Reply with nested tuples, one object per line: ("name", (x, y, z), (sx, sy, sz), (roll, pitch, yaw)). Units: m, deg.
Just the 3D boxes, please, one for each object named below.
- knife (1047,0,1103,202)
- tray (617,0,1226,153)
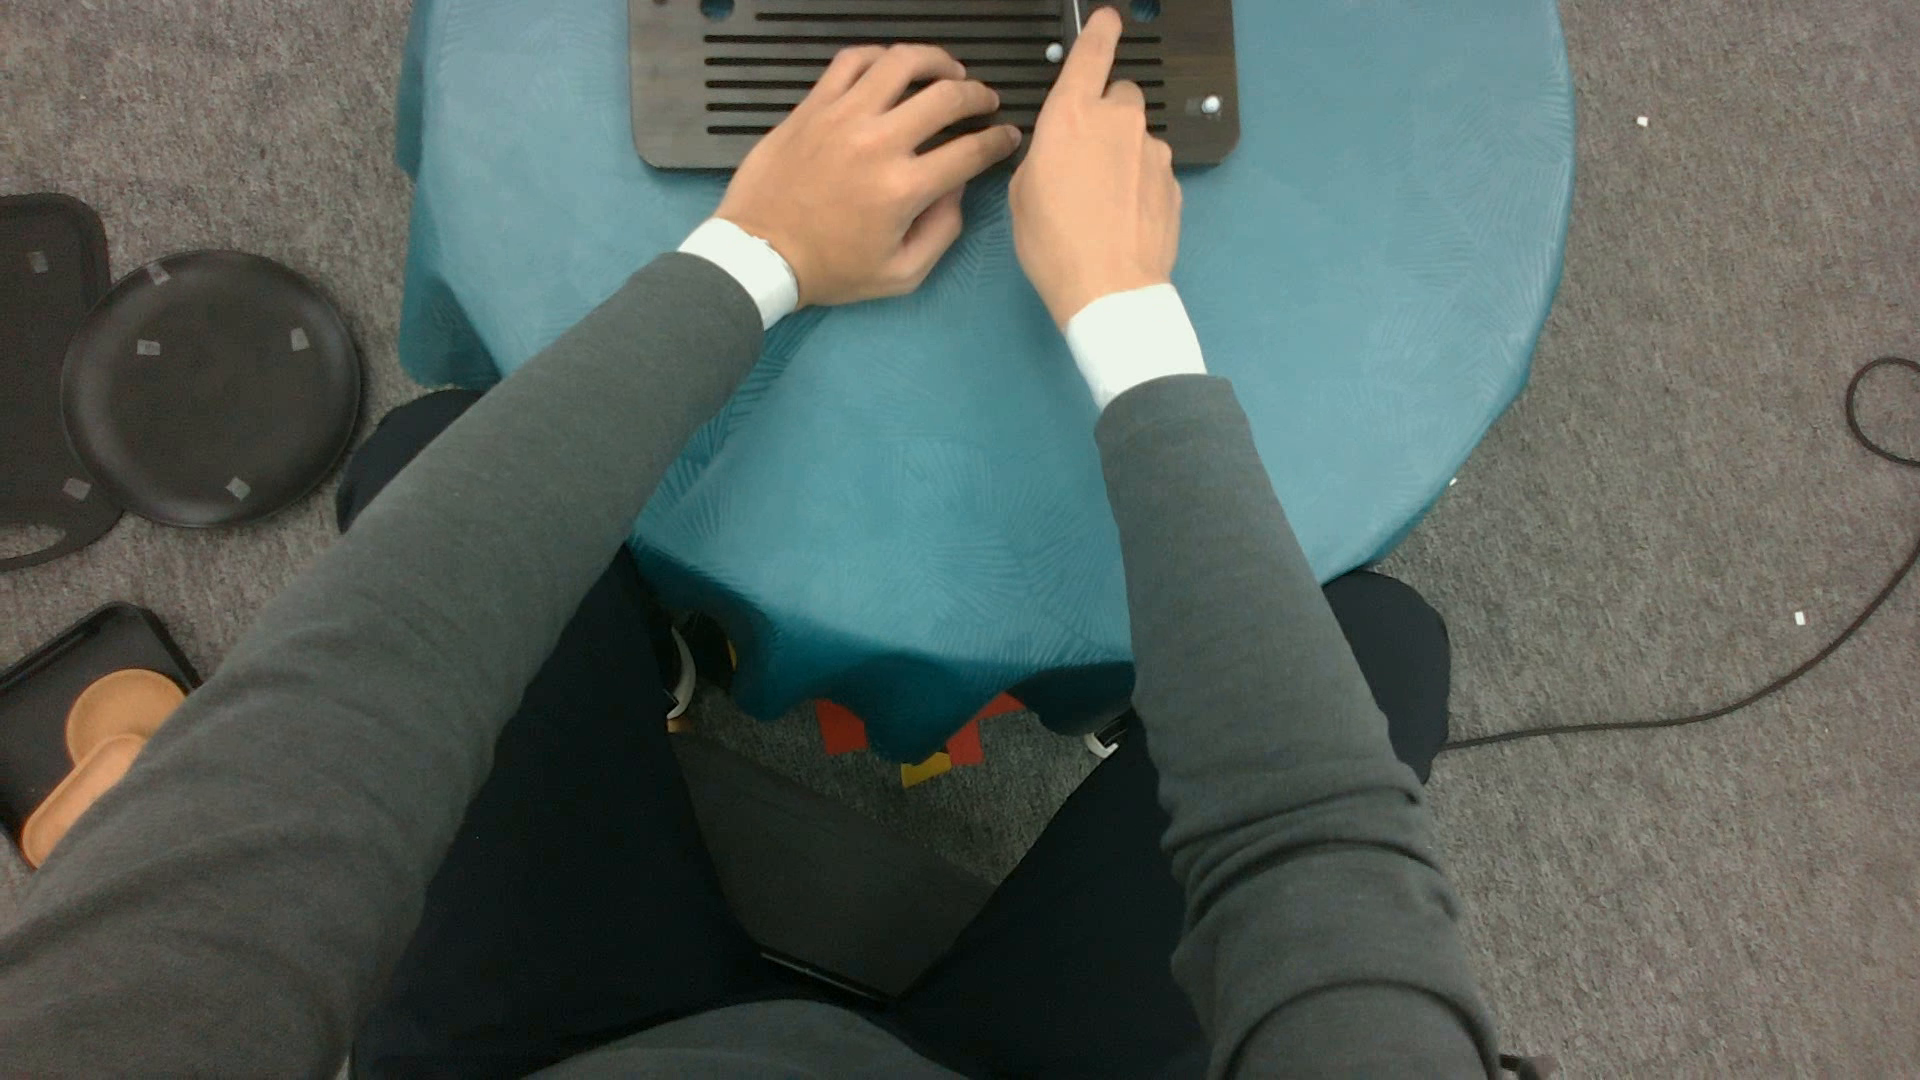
("knife", (0.048, -0.278, 0.671), (0.016, 0.024, 0.238), (-7, 79, 1))
("tray", (-0.019, -0.280, 0.702), (0.306, 0.018, 0.170), (-2, 84, -6))
